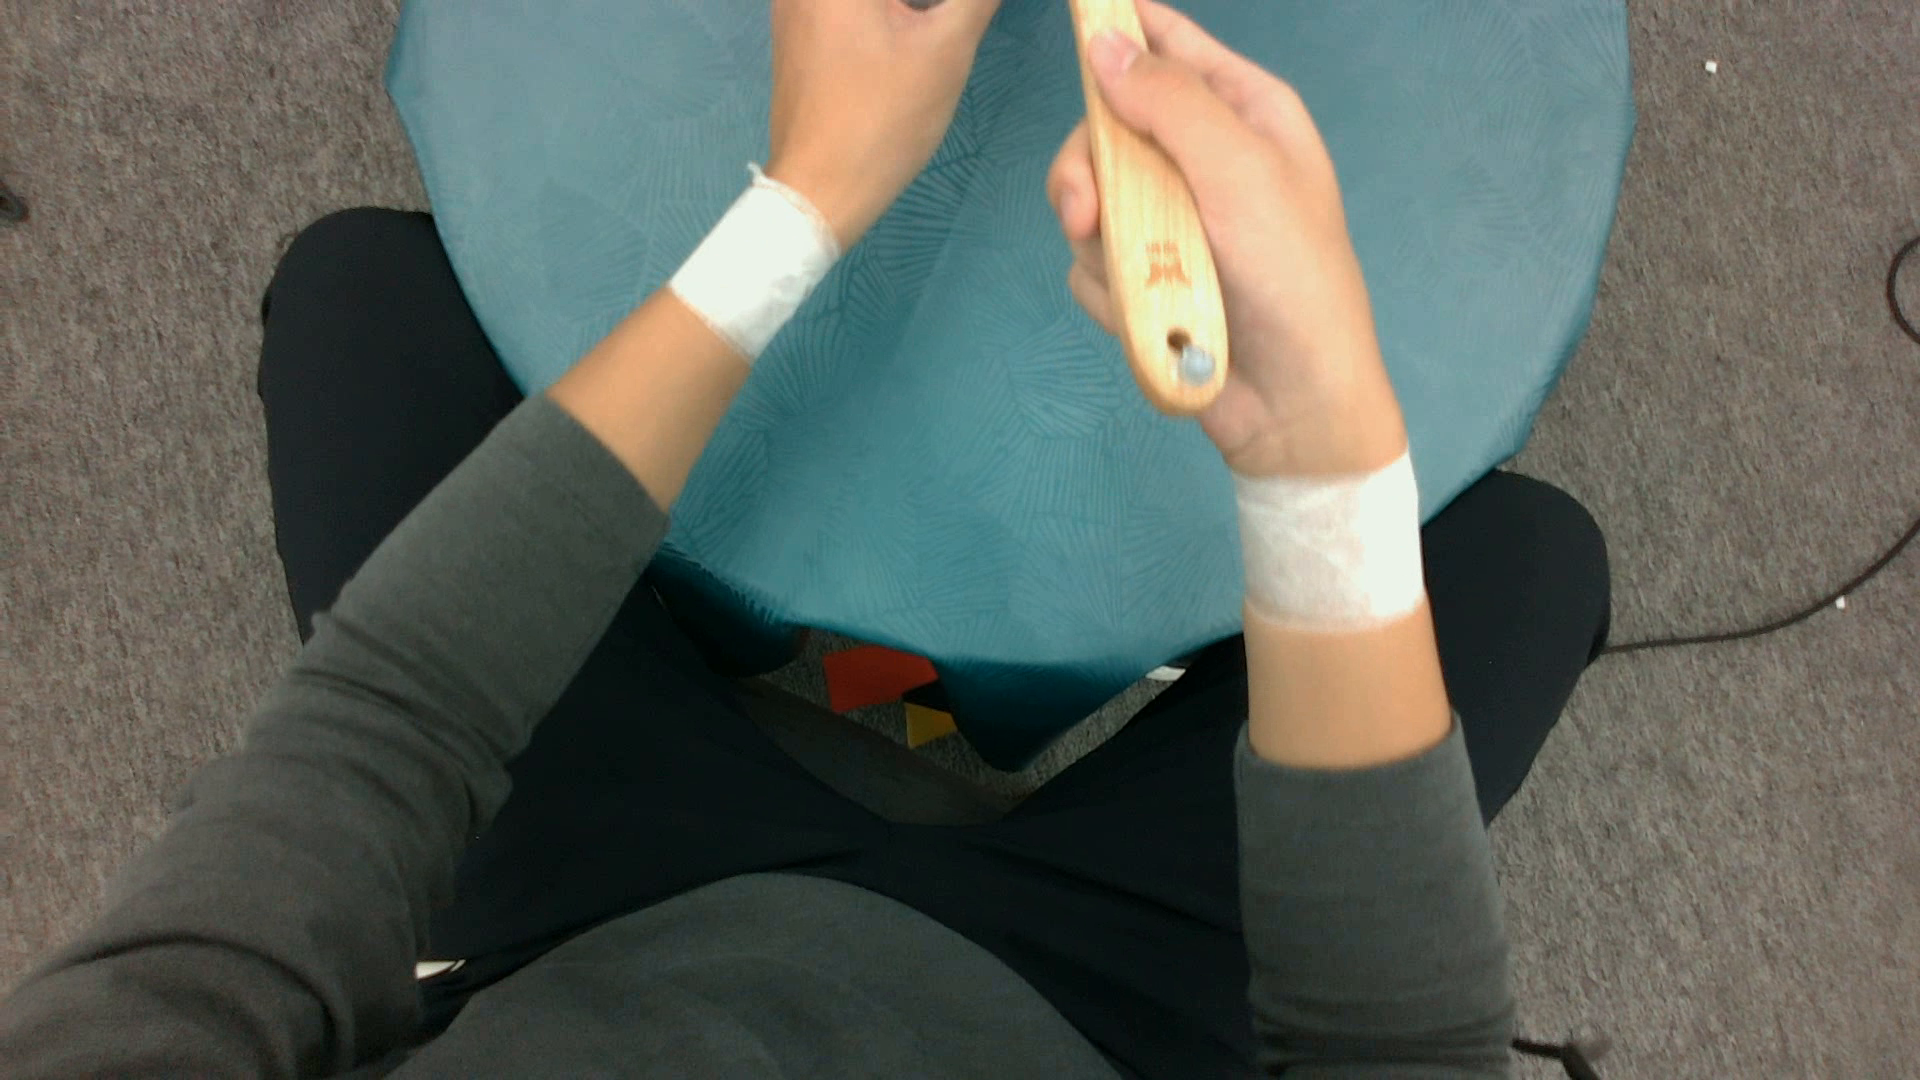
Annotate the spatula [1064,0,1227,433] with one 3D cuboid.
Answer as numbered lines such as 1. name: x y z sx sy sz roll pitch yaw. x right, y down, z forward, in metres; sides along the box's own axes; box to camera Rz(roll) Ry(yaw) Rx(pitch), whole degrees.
1. spatula: 0.043 -0.200 0.462 0.096 0.018 0.392 -2 60 -10

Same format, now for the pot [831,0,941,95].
1. pot: 0.007 -0.296 0.539 0.179 0.136 0.233 18 90 -12
